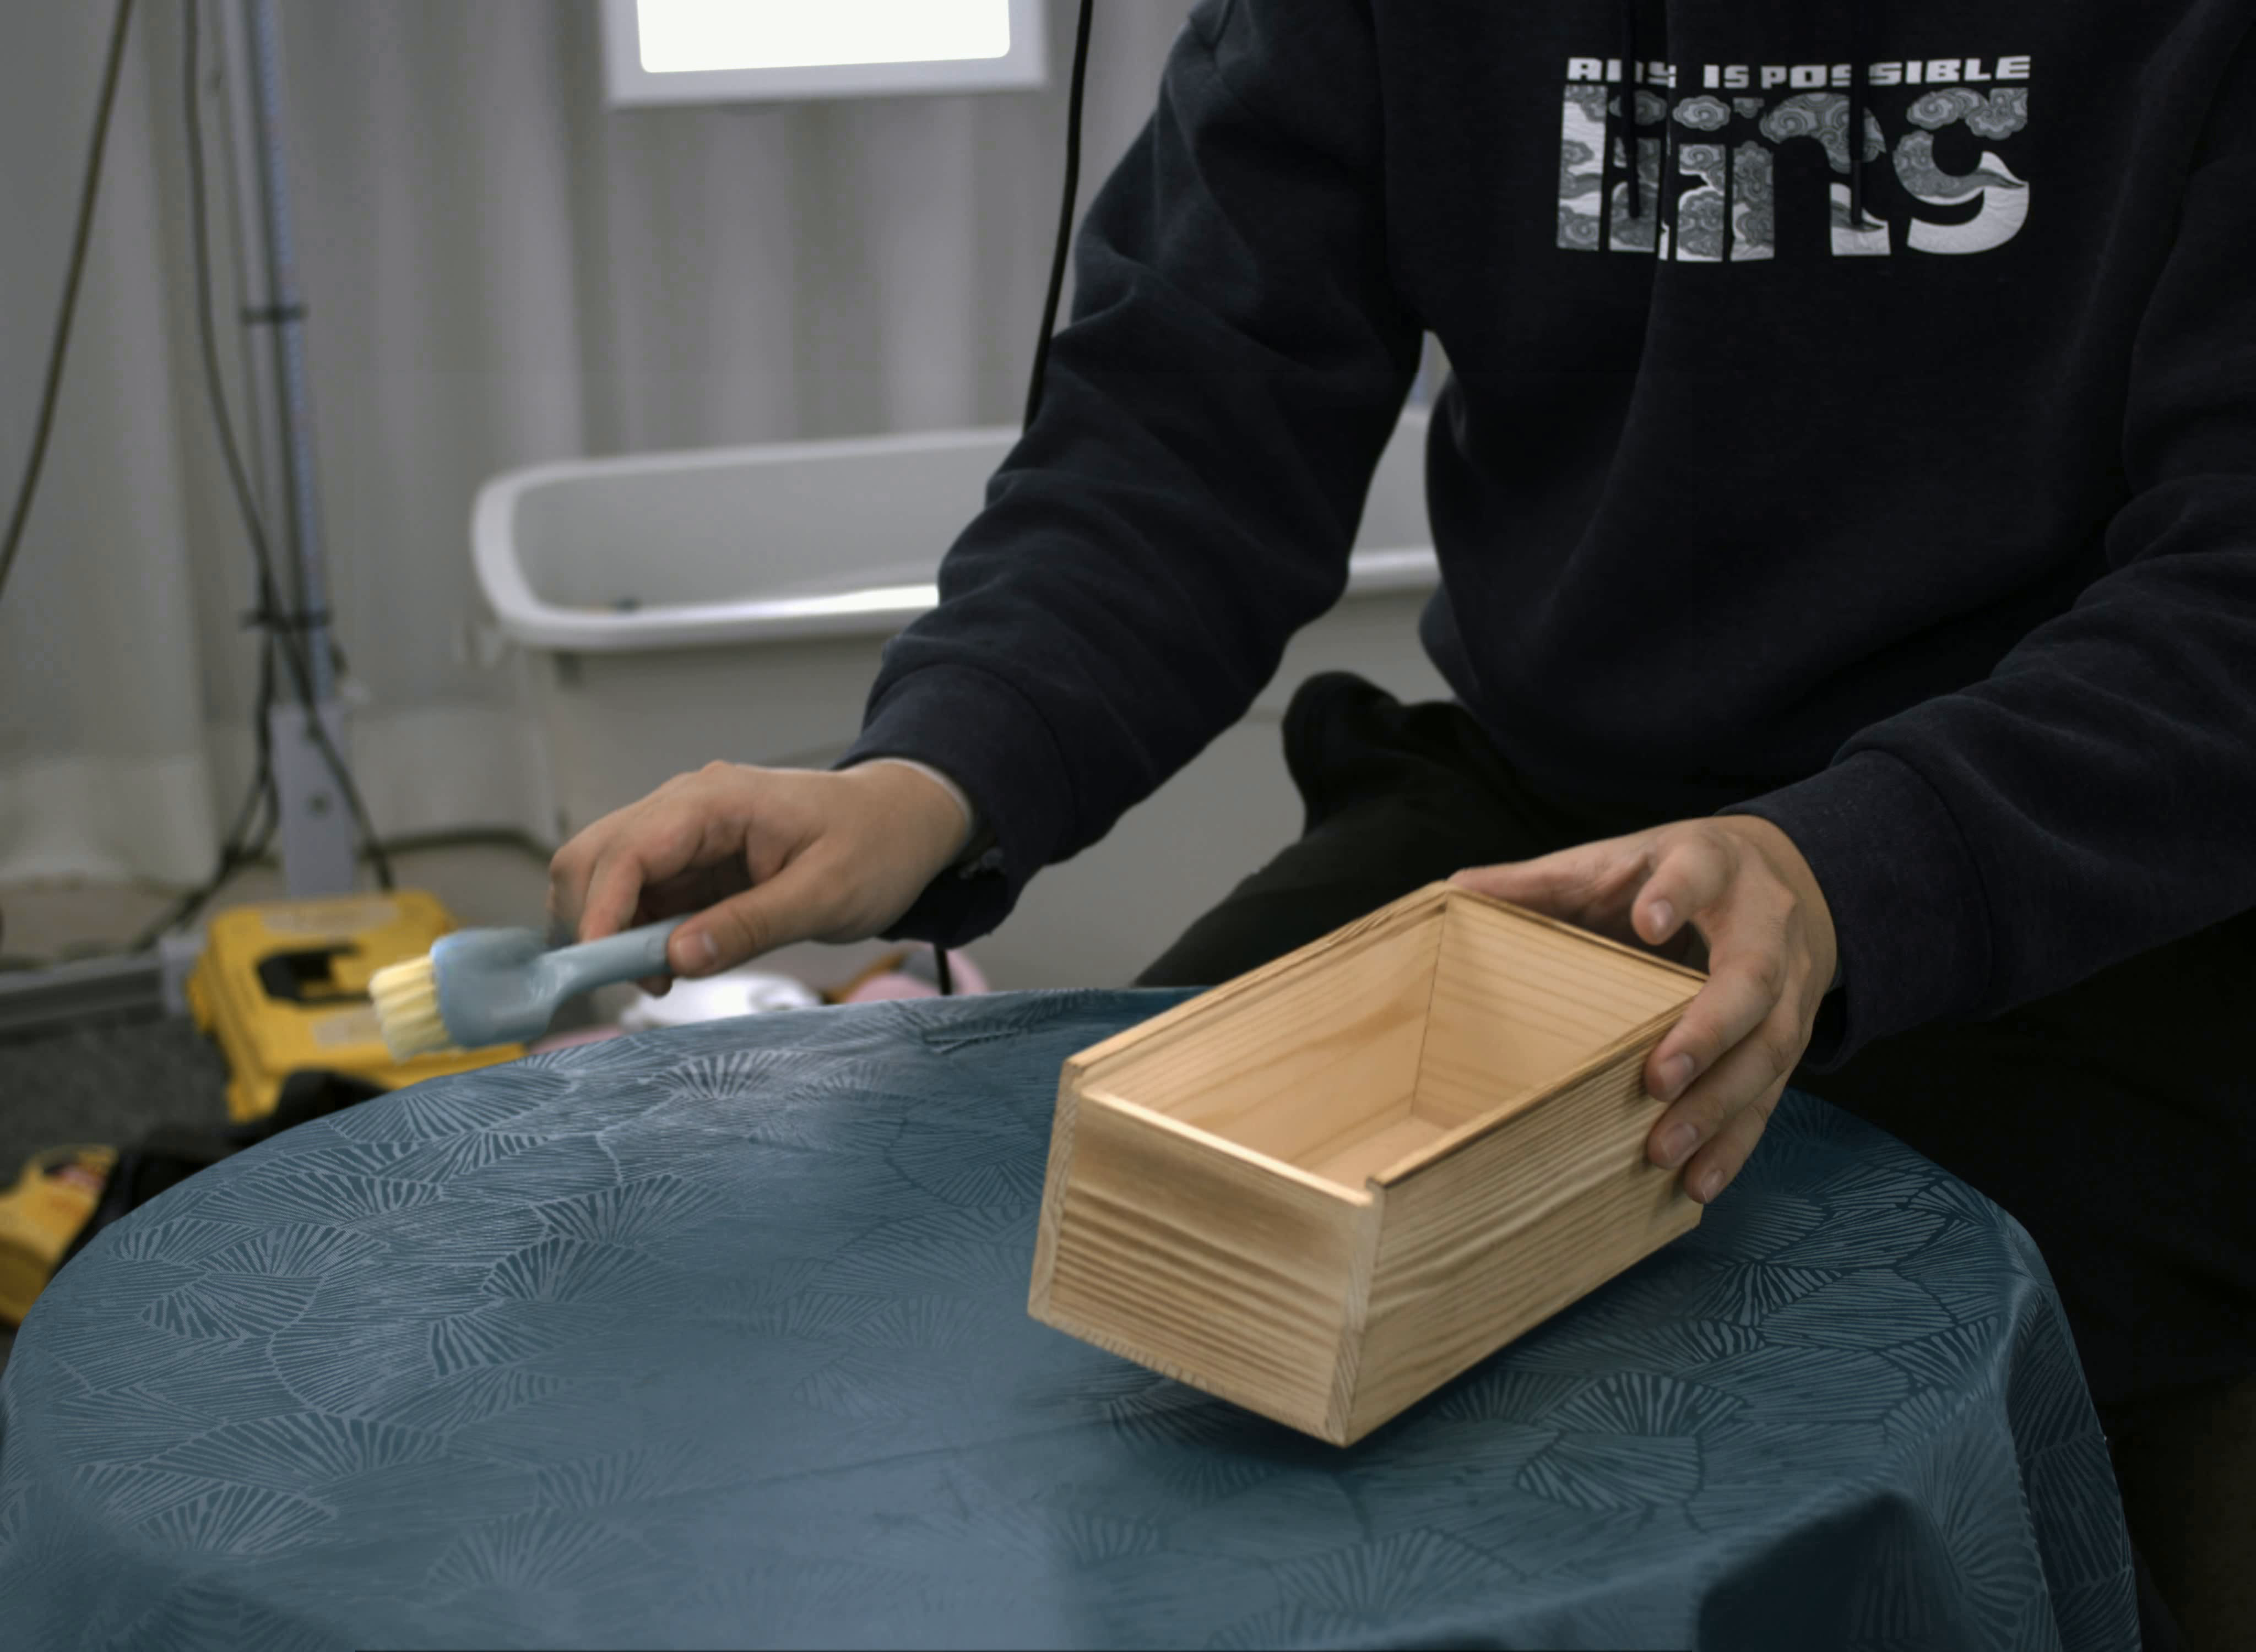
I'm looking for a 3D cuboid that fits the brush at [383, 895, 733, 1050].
[{"bbox_3d":[-0.181,0.044,1.763,0.049,0.038,0.228,-22,-2,19],"label":"brush"}]

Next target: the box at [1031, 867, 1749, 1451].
[{"bbox_3d":[0.078,0.091,1.570,0.108,0.080,0.211,20,25,28],"label":"box"}]
